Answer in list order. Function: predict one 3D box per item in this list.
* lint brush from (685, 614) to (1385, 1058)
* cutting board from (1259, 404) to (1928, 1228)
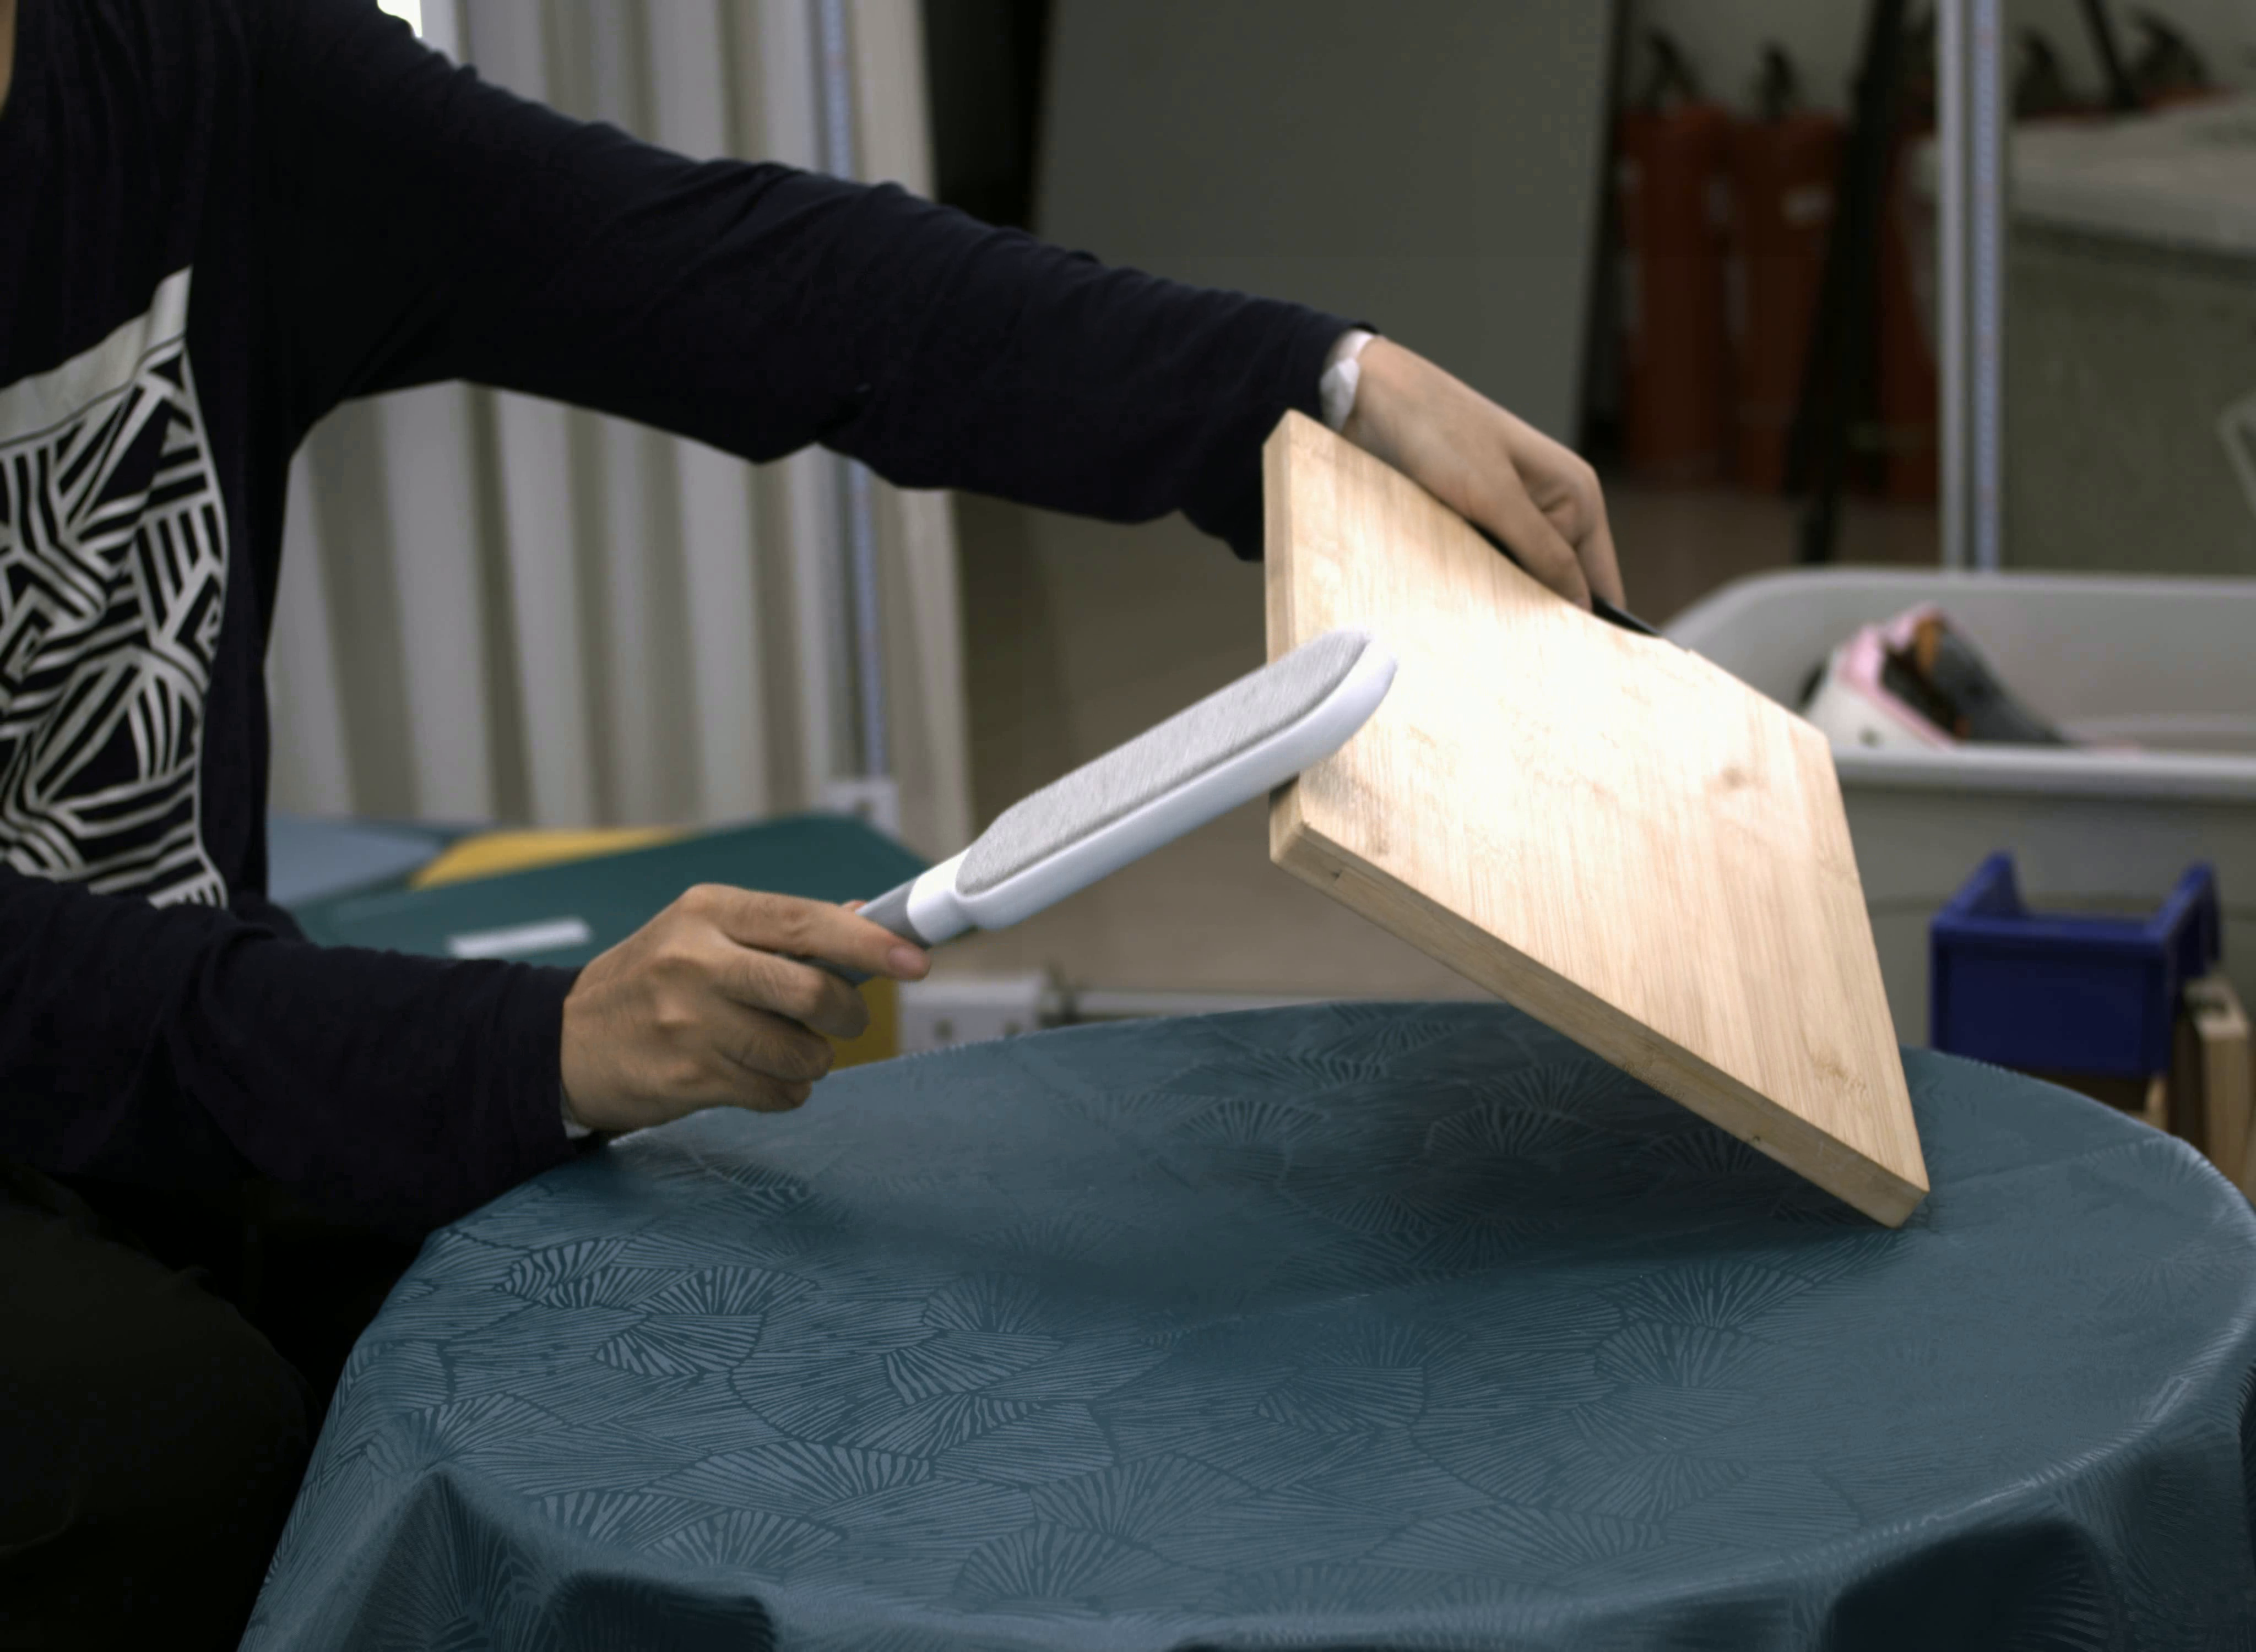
[{"bbox_3d":[-0.035,0.008,1.738,0.311,0.021,0.060,-29,27,36],"label":"lint brush"},{"bbox_3d":[0.150,-0.013,1.814,0.247,0.024,0.349,30,23,-13],"label":"cutting board"}]
